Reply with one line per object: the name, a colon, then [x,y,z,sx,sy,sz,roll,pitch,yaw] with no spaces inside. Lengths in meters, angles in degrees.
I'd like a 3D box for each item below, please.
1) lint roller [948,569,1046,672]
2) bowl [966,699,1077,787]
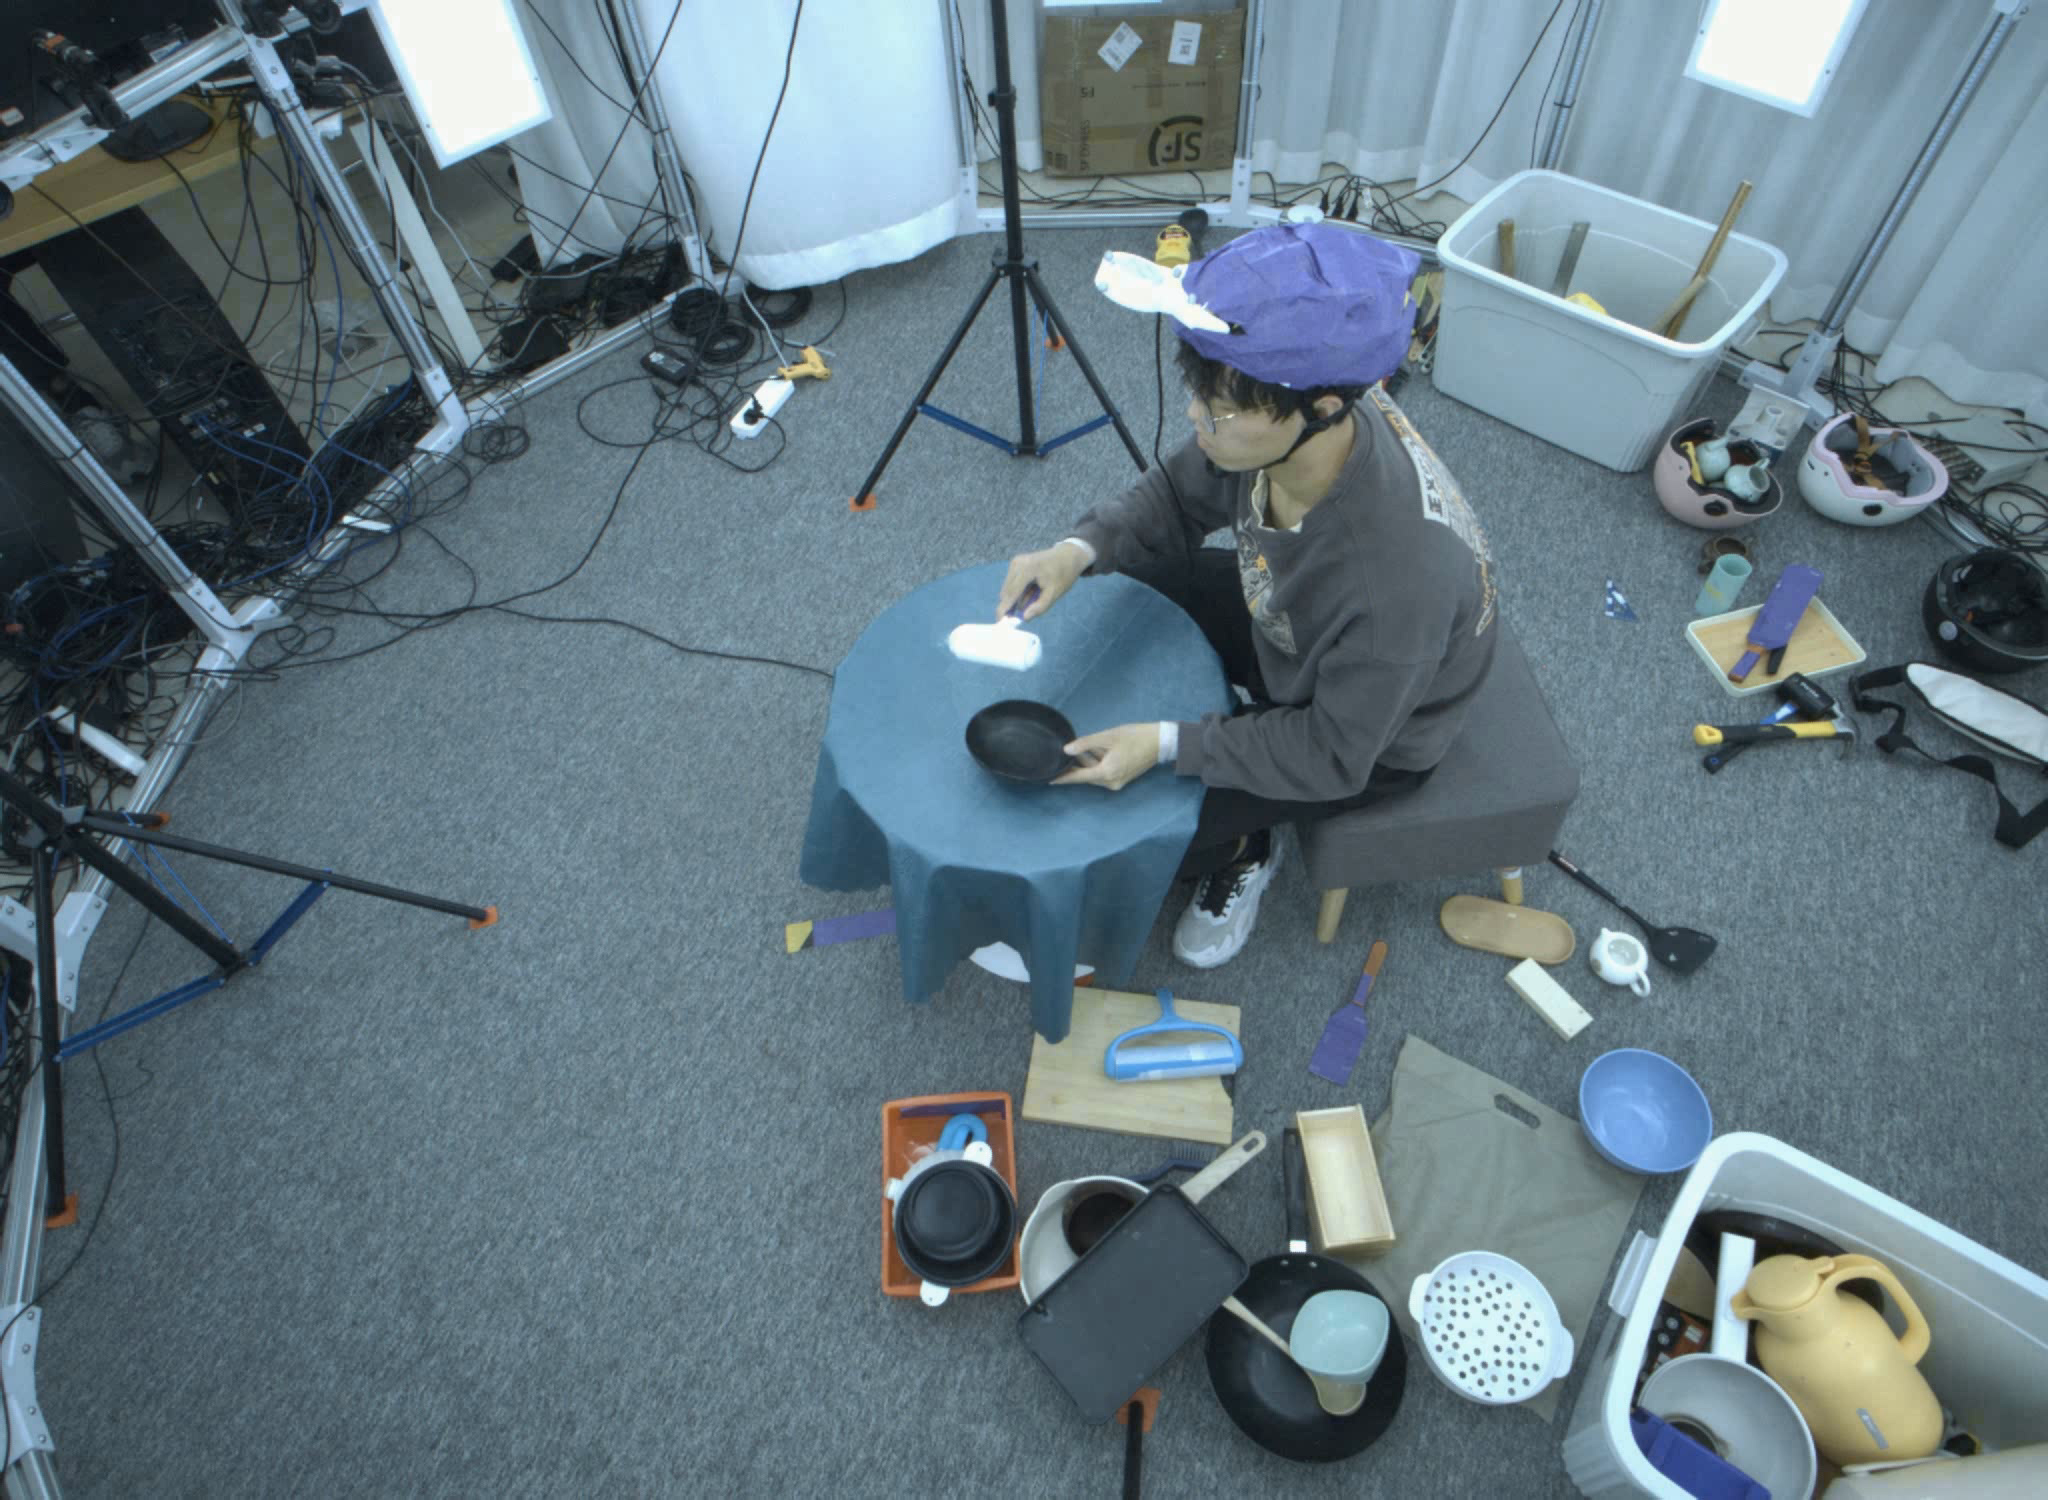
lint roller: [-0.015,-0.190,1.681,0.130,0.051,0.181,15,64,25]
bowl: [-0.004,0.000,1.746,0.168,0.067,0.138,24,58,20]
